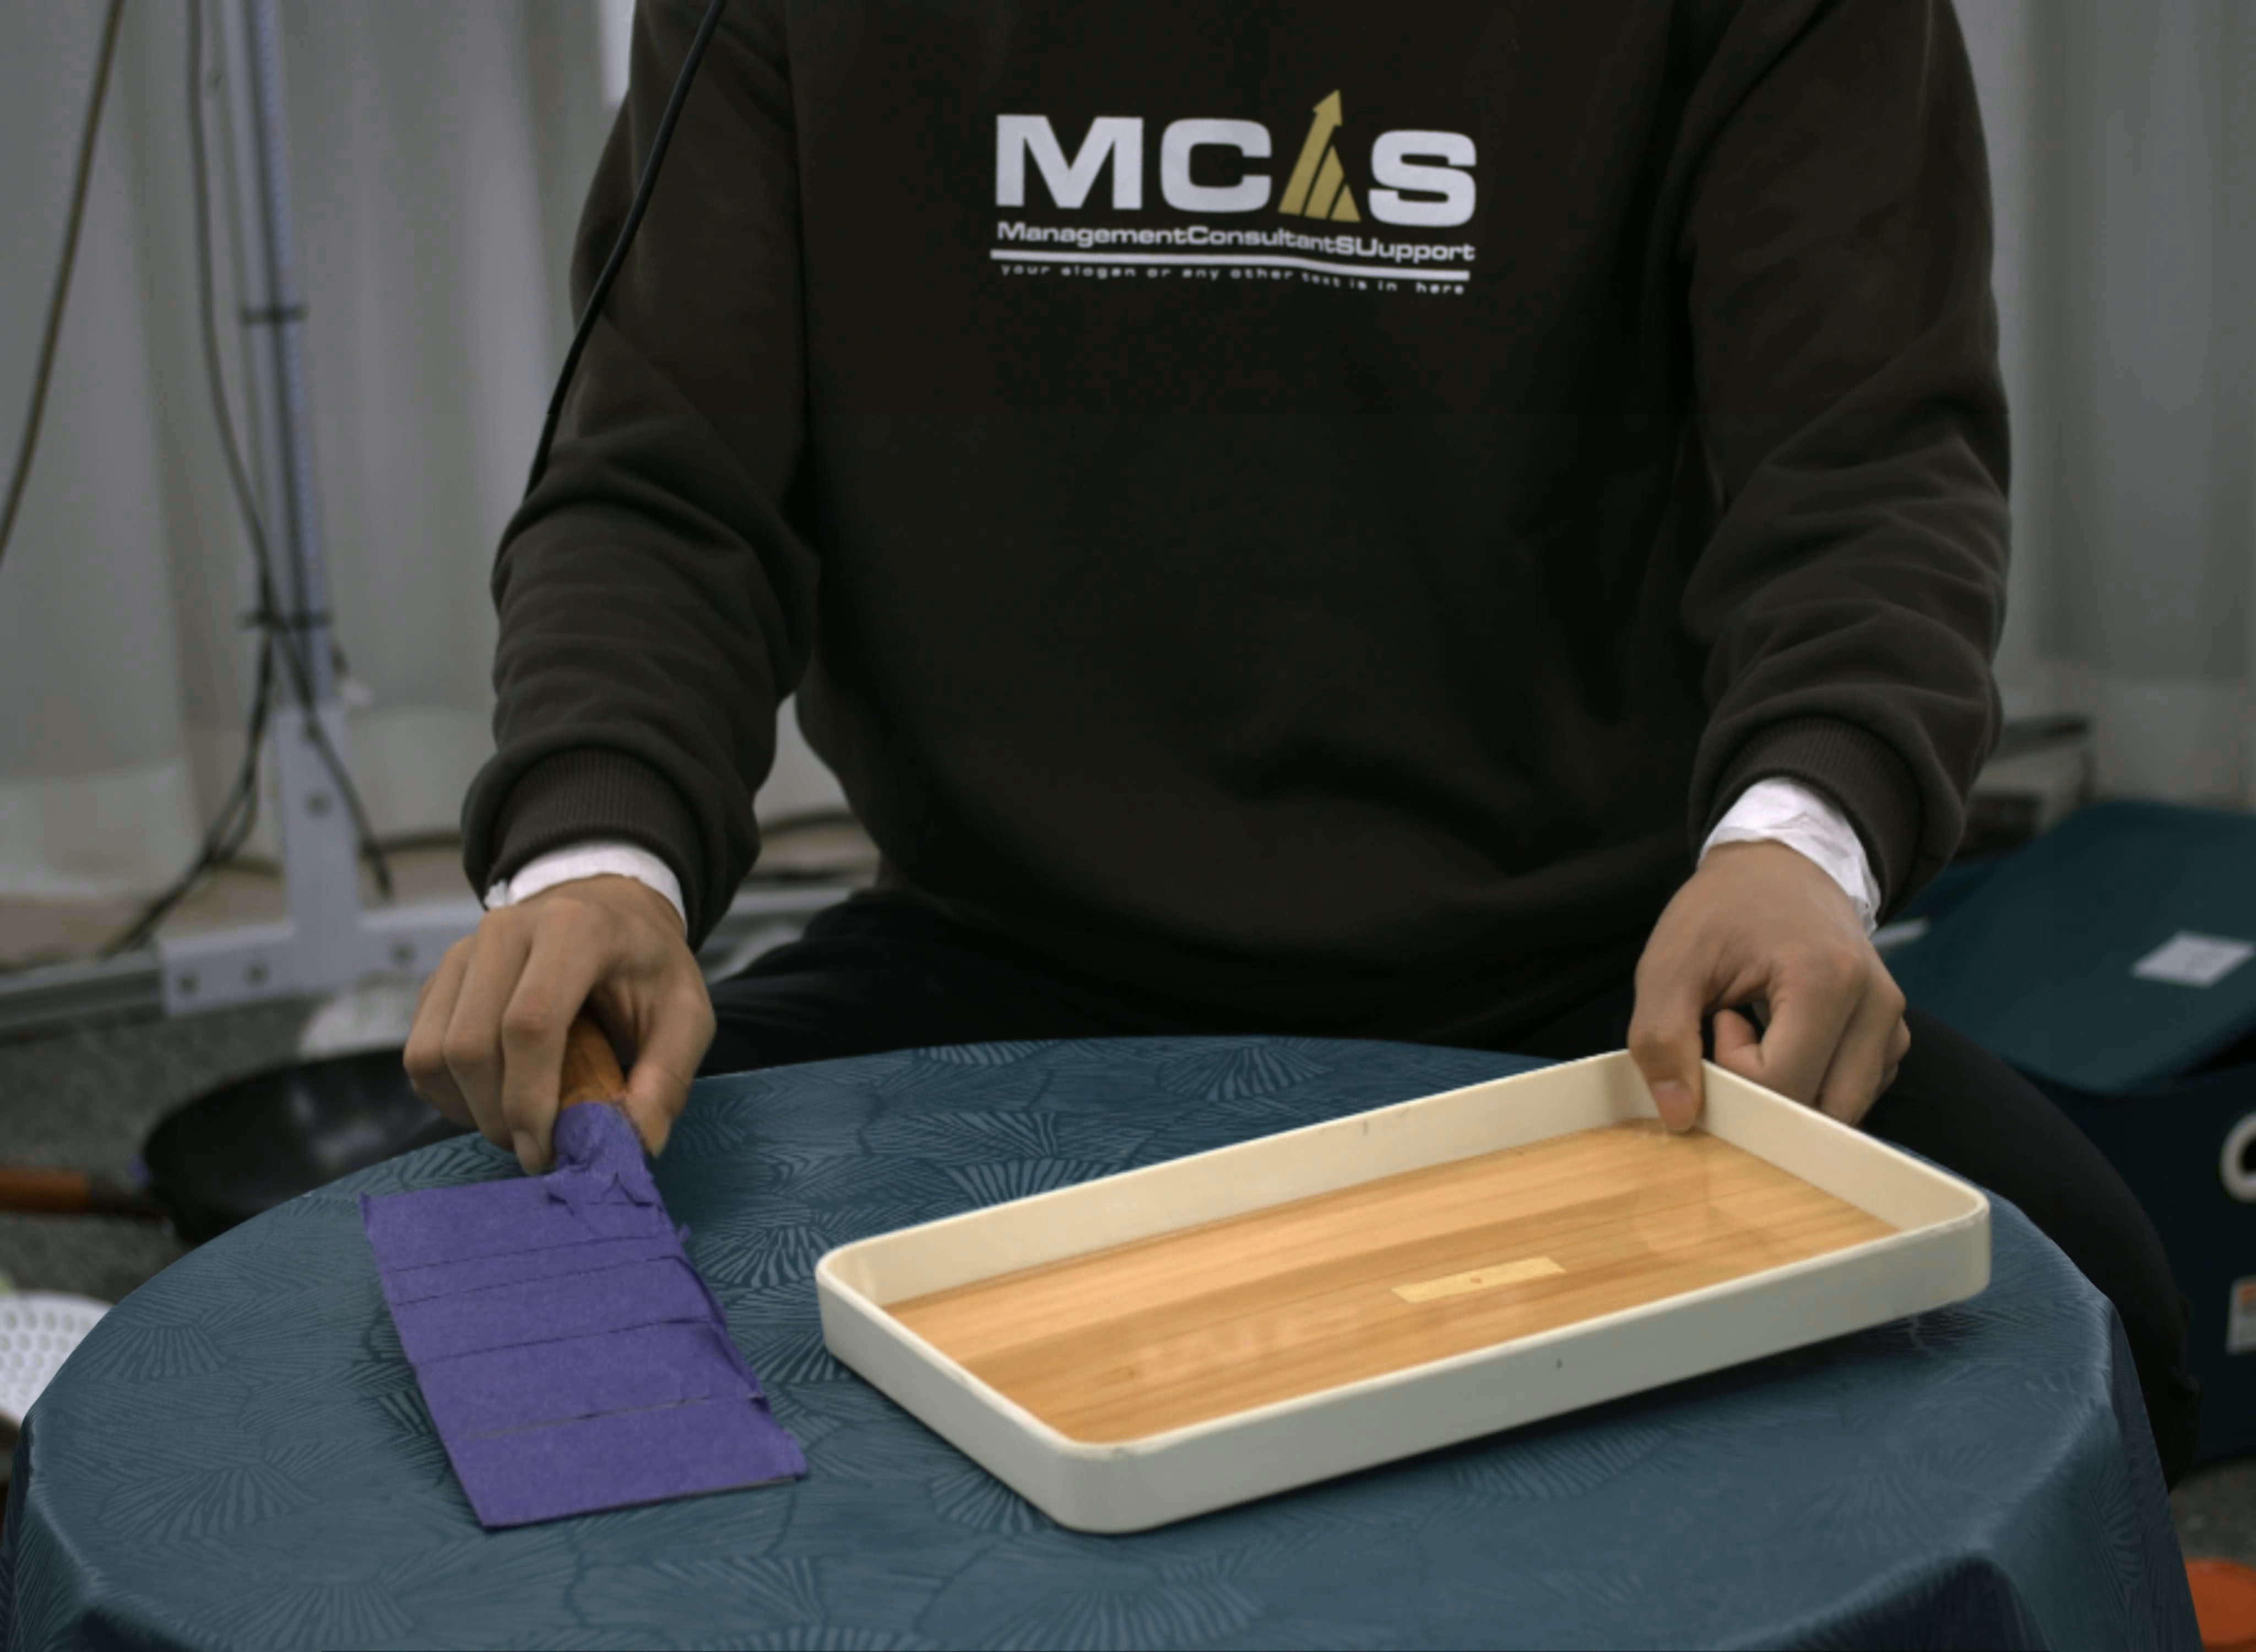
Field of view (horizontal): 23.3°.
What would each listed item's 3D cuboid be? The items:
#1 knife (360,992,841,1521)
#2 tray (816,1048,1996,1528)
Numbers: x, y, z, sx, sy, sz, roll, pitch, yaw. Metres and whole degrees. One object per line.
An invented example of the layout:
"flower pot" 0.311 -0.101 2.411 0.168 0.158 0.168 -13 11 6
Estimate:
"knife" -0.174 0.122 1.613 0.103 0.032 0.318 -7 21 -16
"tray" 0.079 0.128 1.572 0.299 0.027 0.193 -12 17 -24
